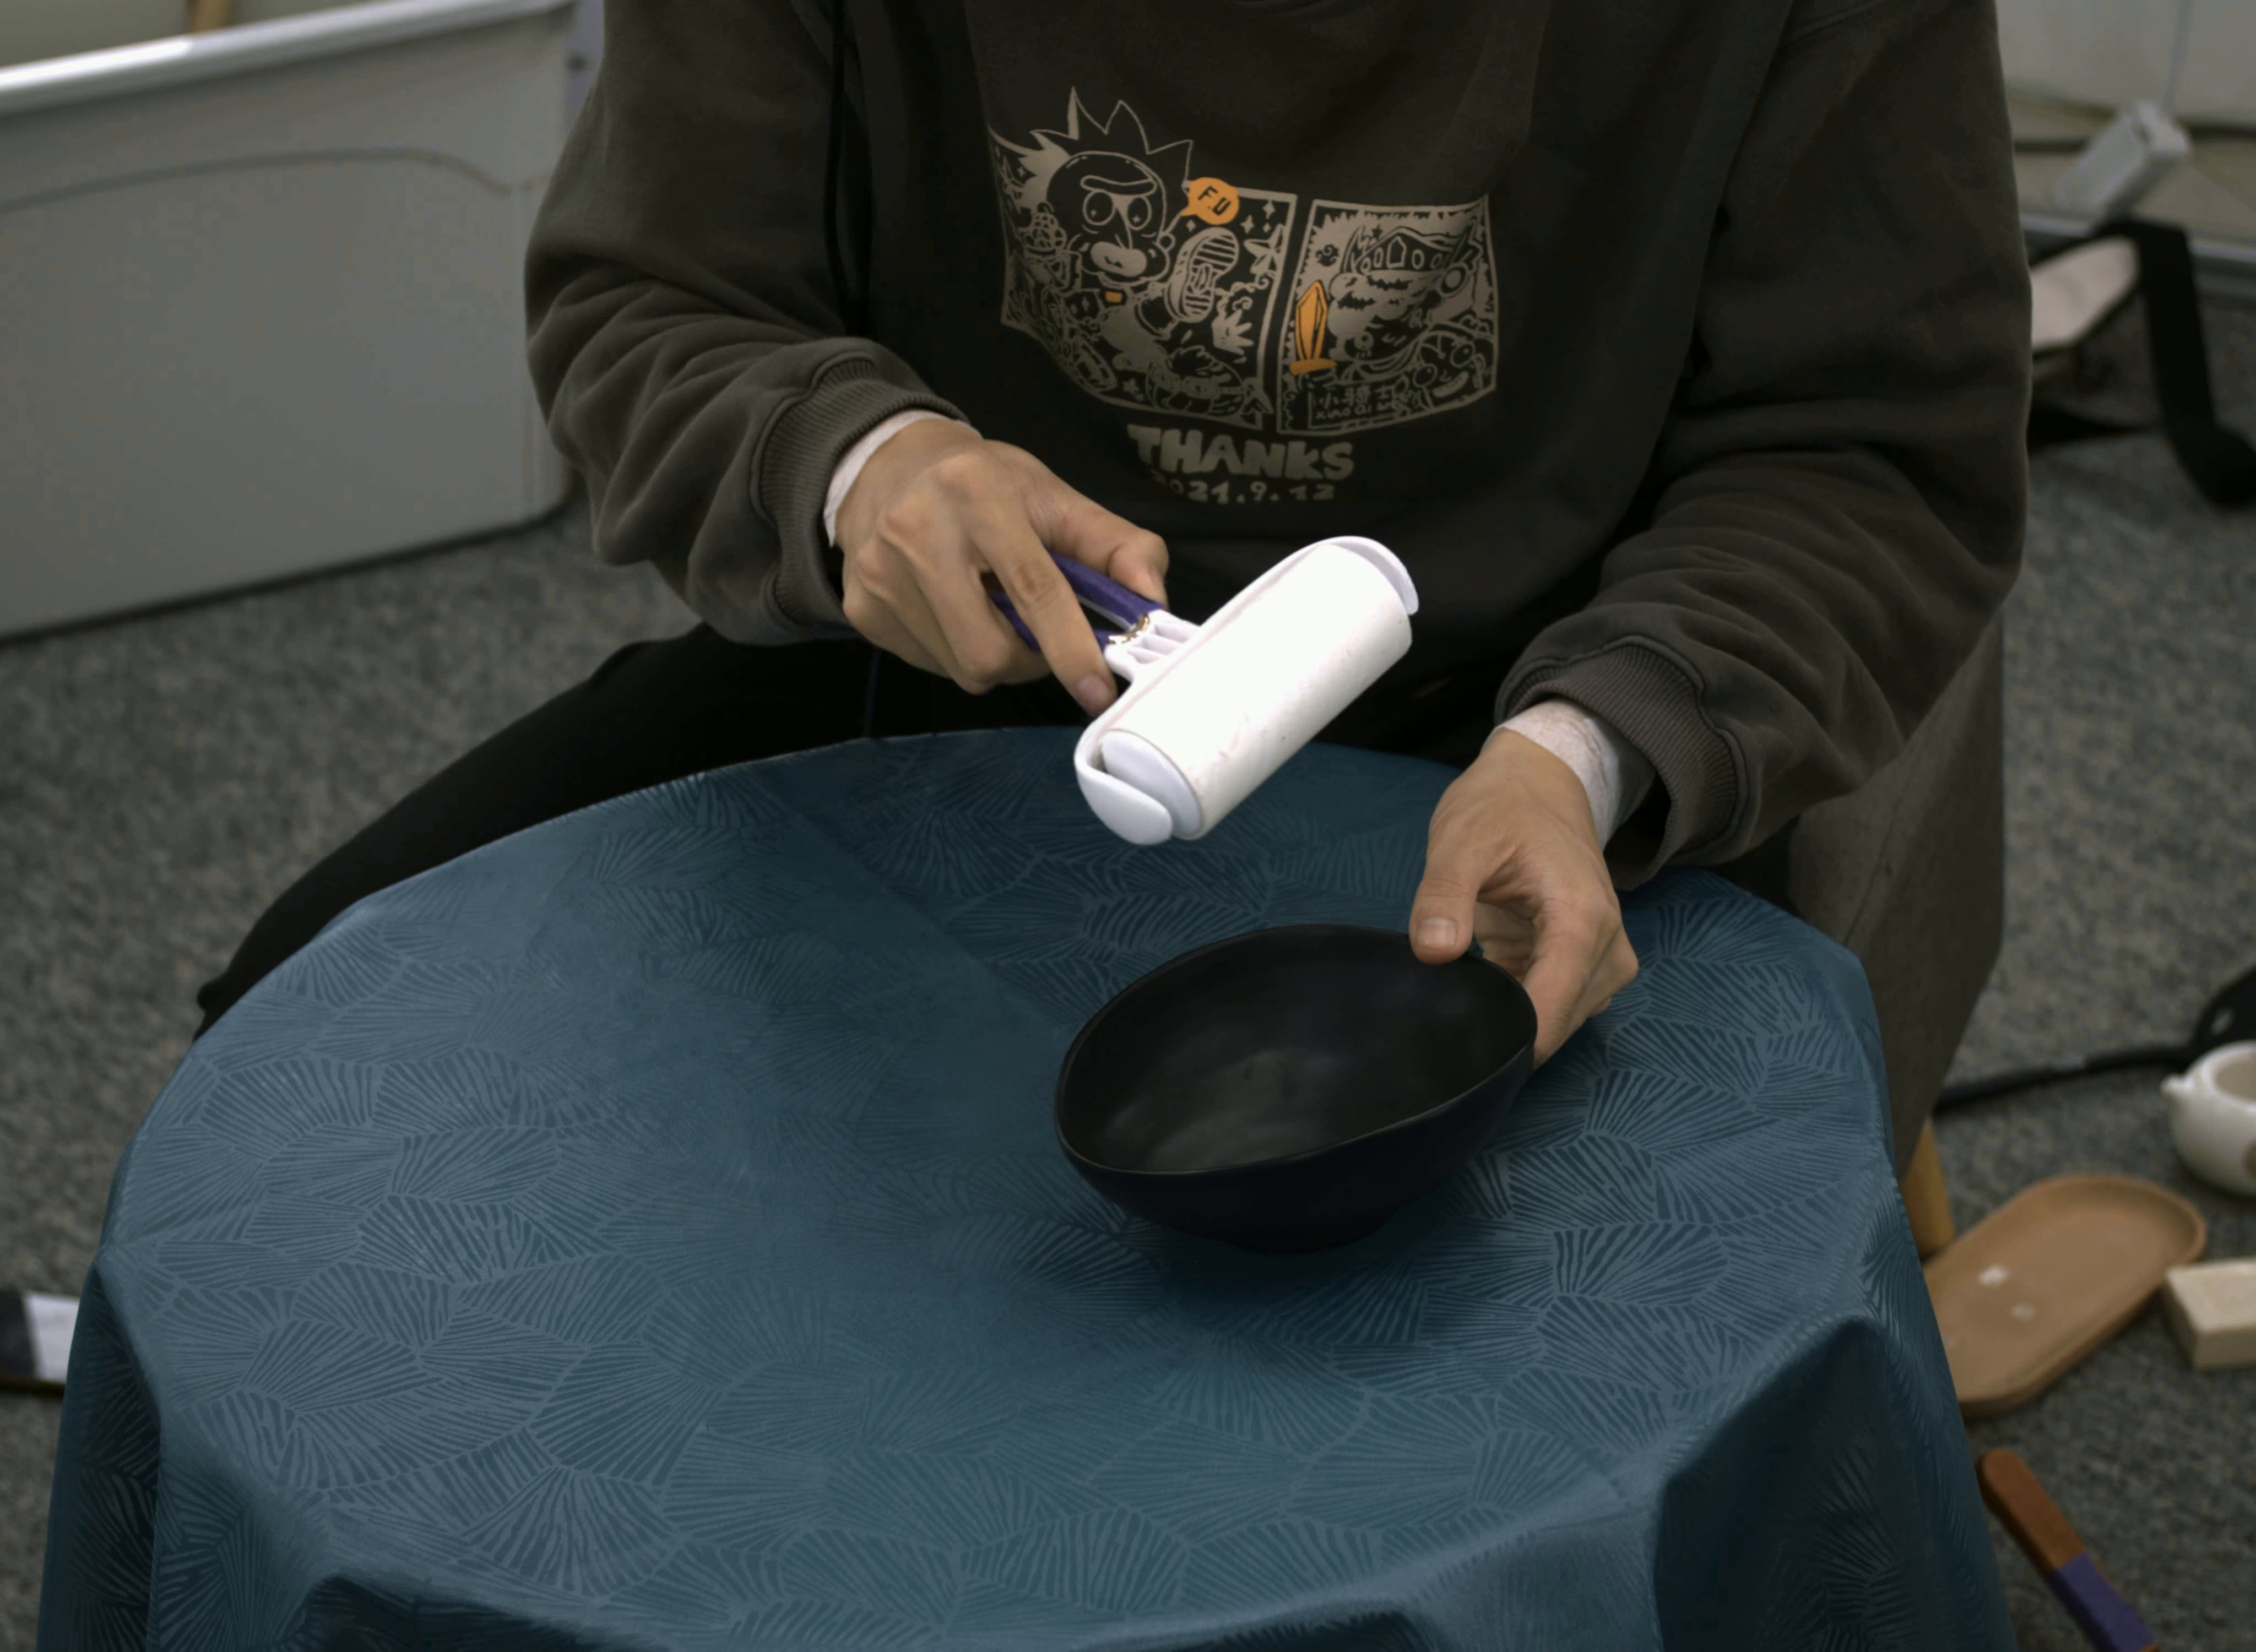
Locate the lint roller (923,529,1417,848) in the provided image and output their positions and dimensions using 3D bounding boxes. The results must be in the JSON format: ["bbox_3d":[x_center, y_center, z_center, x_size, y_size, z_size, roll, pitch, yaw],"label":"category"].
[{"bbox_3d":[-0.004,-0.070,1.846,0.134,0.049,0.181,-40,51,-24],"label":"lint roller"}]

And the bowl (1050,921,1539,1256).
[{"bbox_3d":[0.057,0.096,1.836,0.172,0.066,0.137,-22,32,-29],"label":"bowl"}]
